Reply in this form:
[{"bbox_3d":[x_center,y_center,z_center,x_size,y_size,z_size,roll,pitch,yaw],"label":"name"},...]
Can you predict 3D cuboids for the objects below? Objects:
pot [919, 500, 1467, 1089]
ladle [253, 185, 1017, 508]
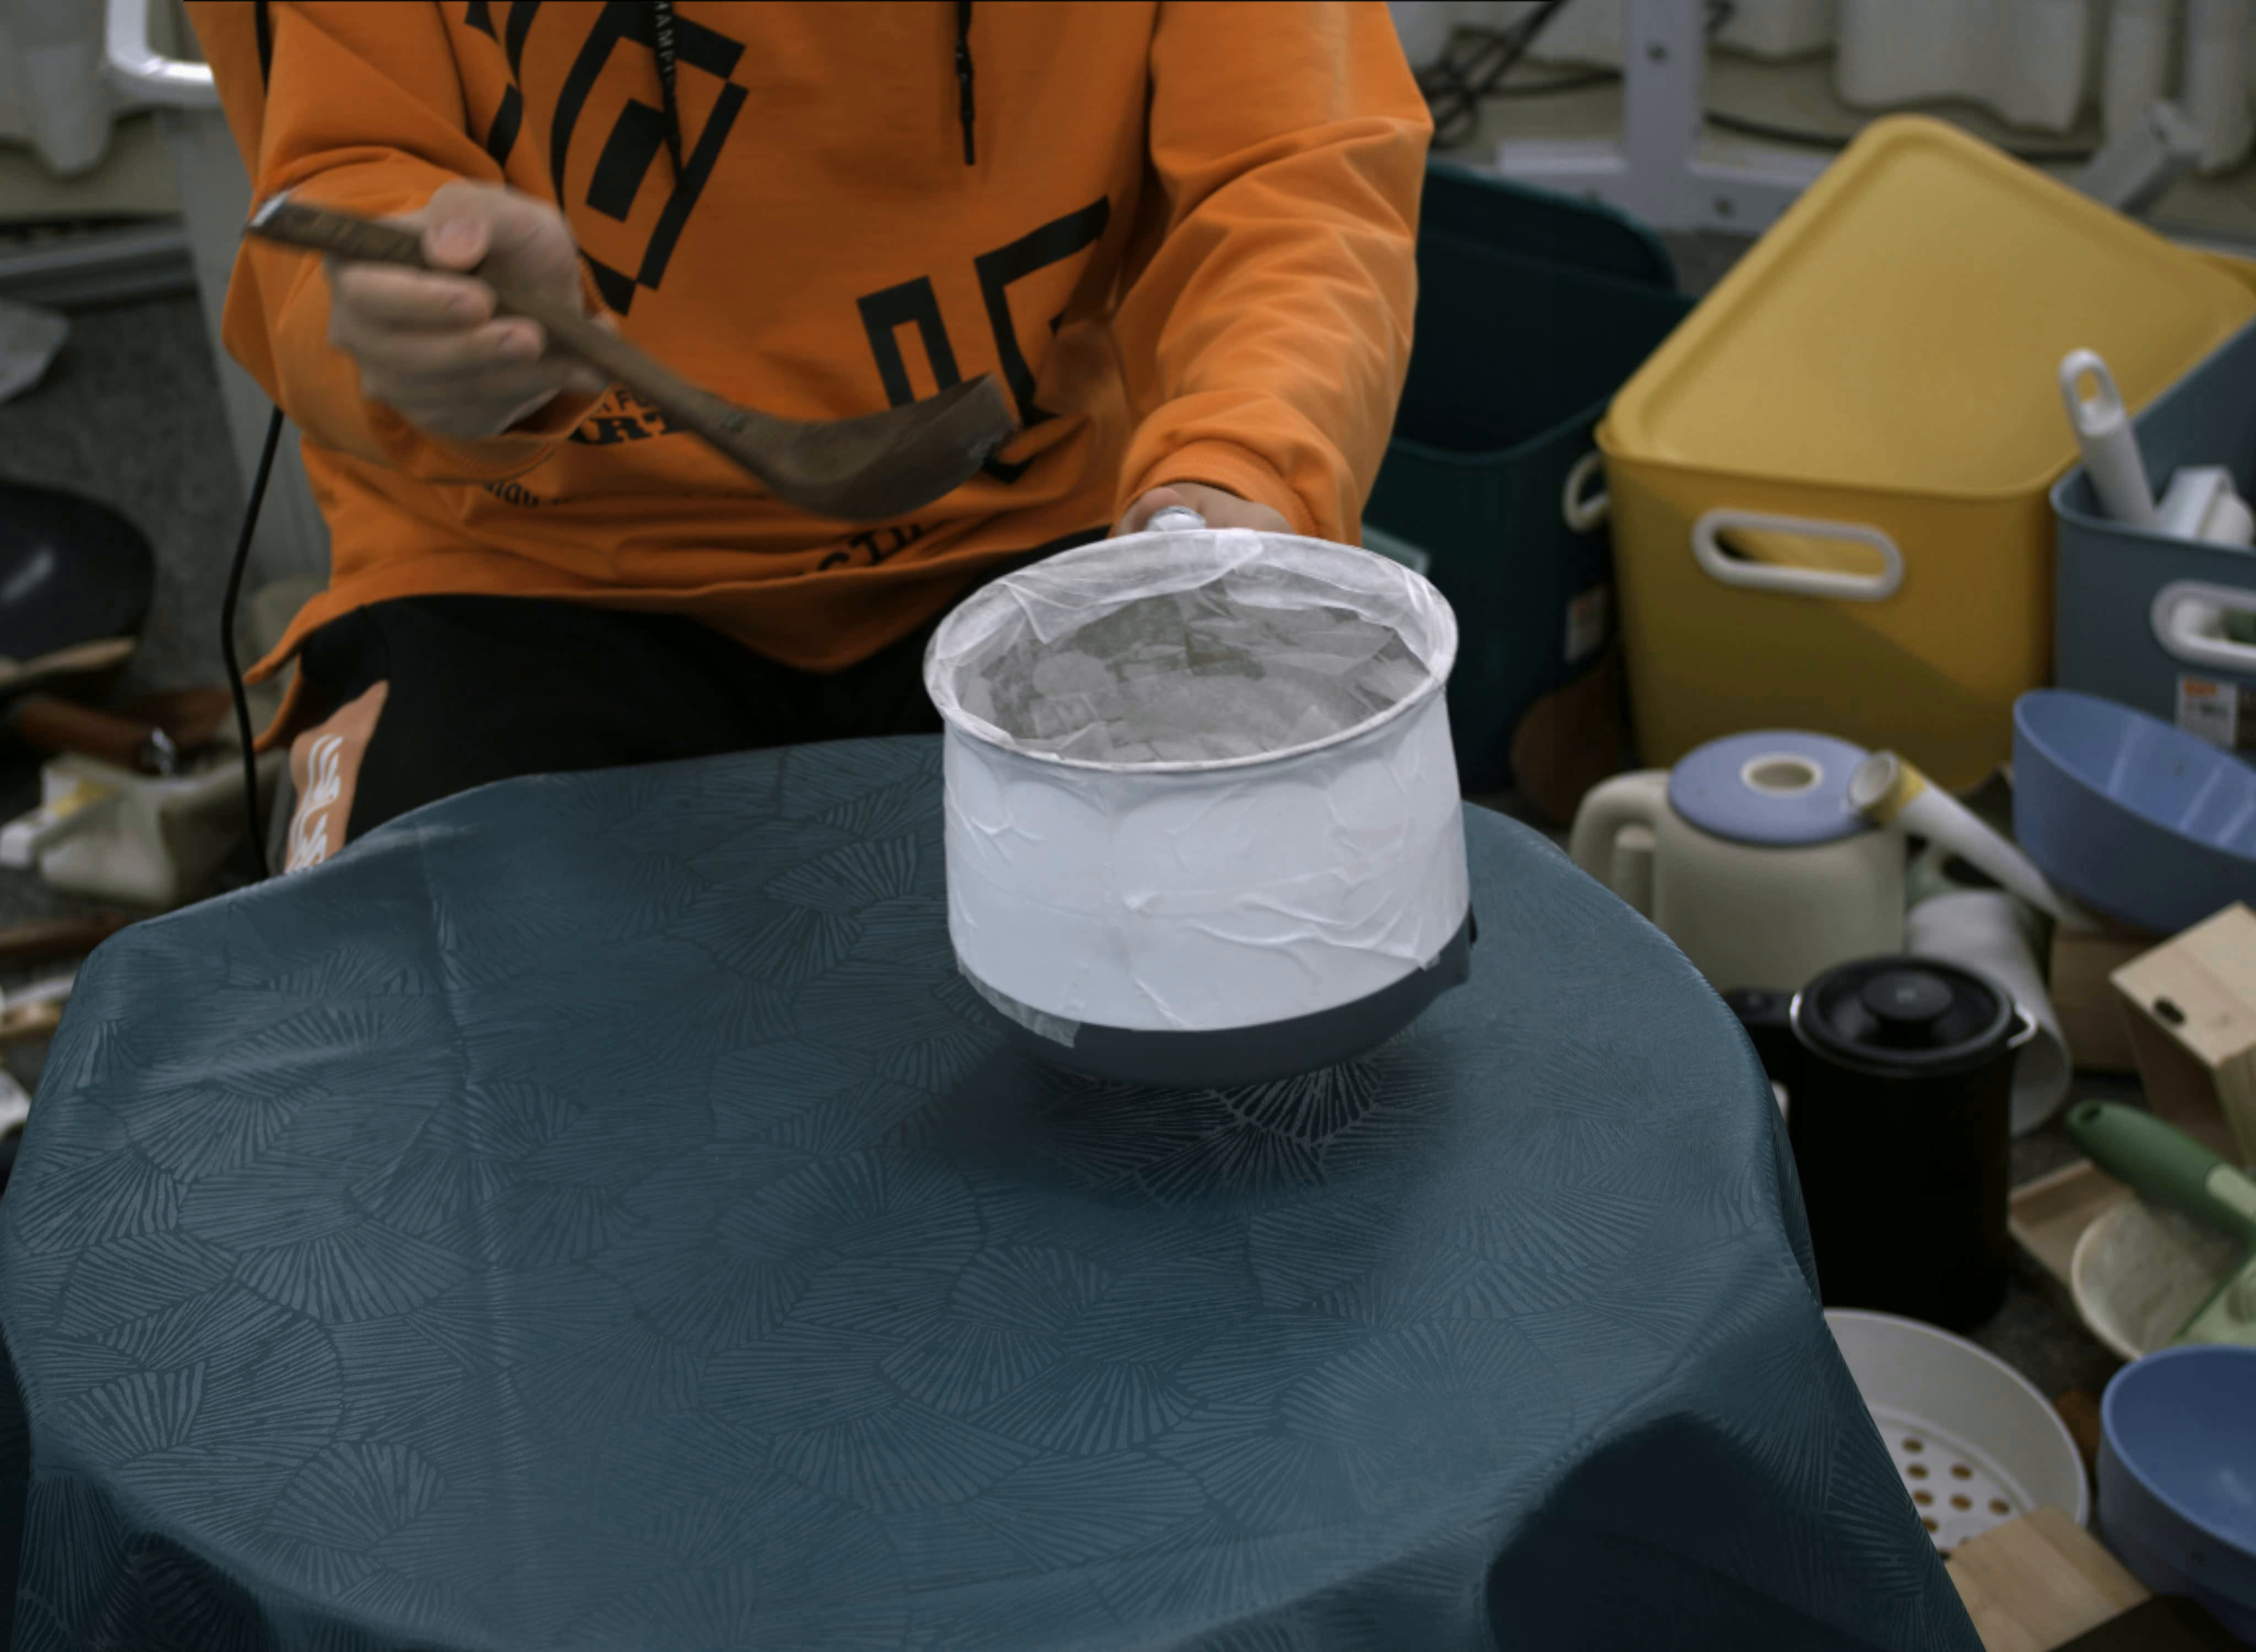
[{"bbox_3d":[0.021,-0.018,1.902,0.178,0.135,0.237,-5,27,-3],"label":"pot"},{"bbox_3d":[-0.165,-0.178,1.869,0.273,0.070,0.077,27,29,12],"label":"ladle"}]
